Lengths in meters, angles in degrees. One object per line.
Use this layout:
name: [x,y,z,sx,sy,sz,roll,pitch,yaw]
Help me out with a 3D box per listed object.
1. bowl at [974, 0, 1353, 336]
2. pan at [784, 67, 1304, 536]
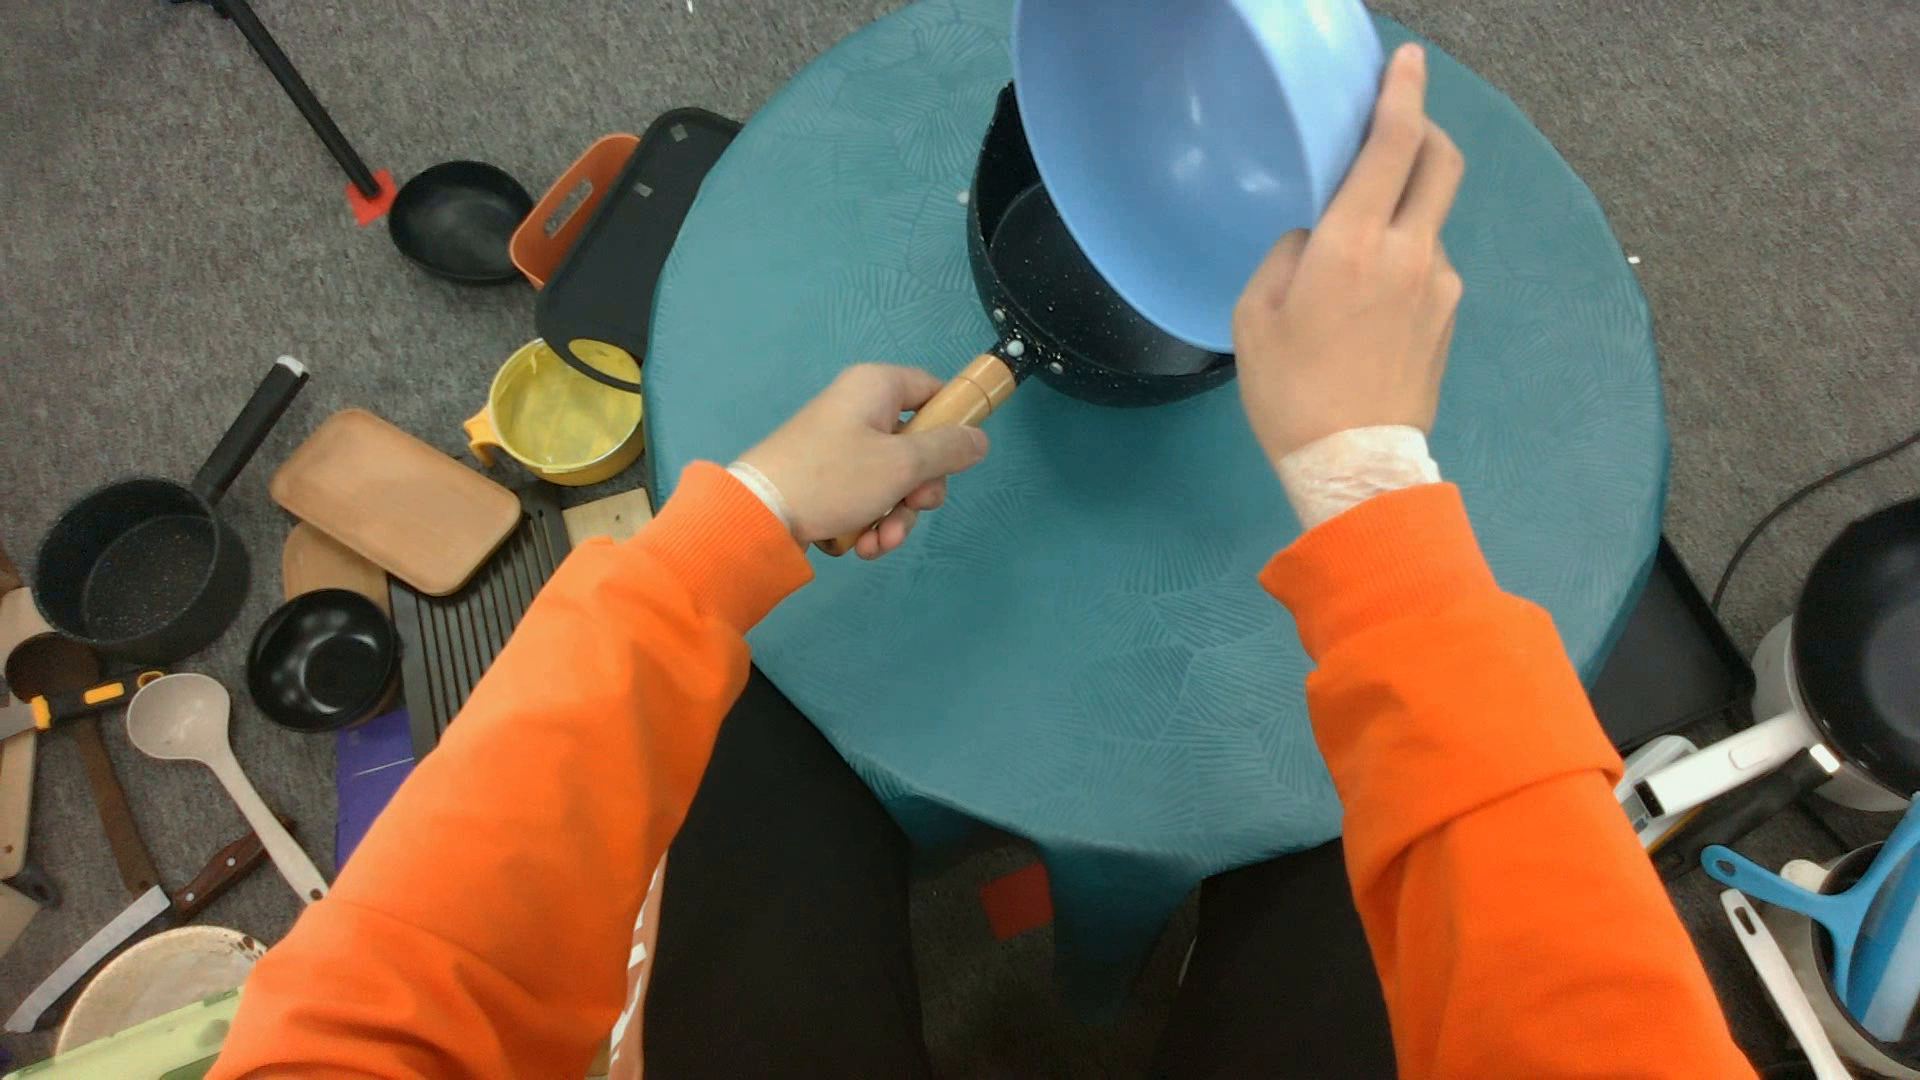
bowl: [0.104,-0.199,0.619,0.096,0.195,0.196,-36,73,-17]
pan: [0.034,-0.112,0.707,0.207,0.108,0.344,41,71,3]
